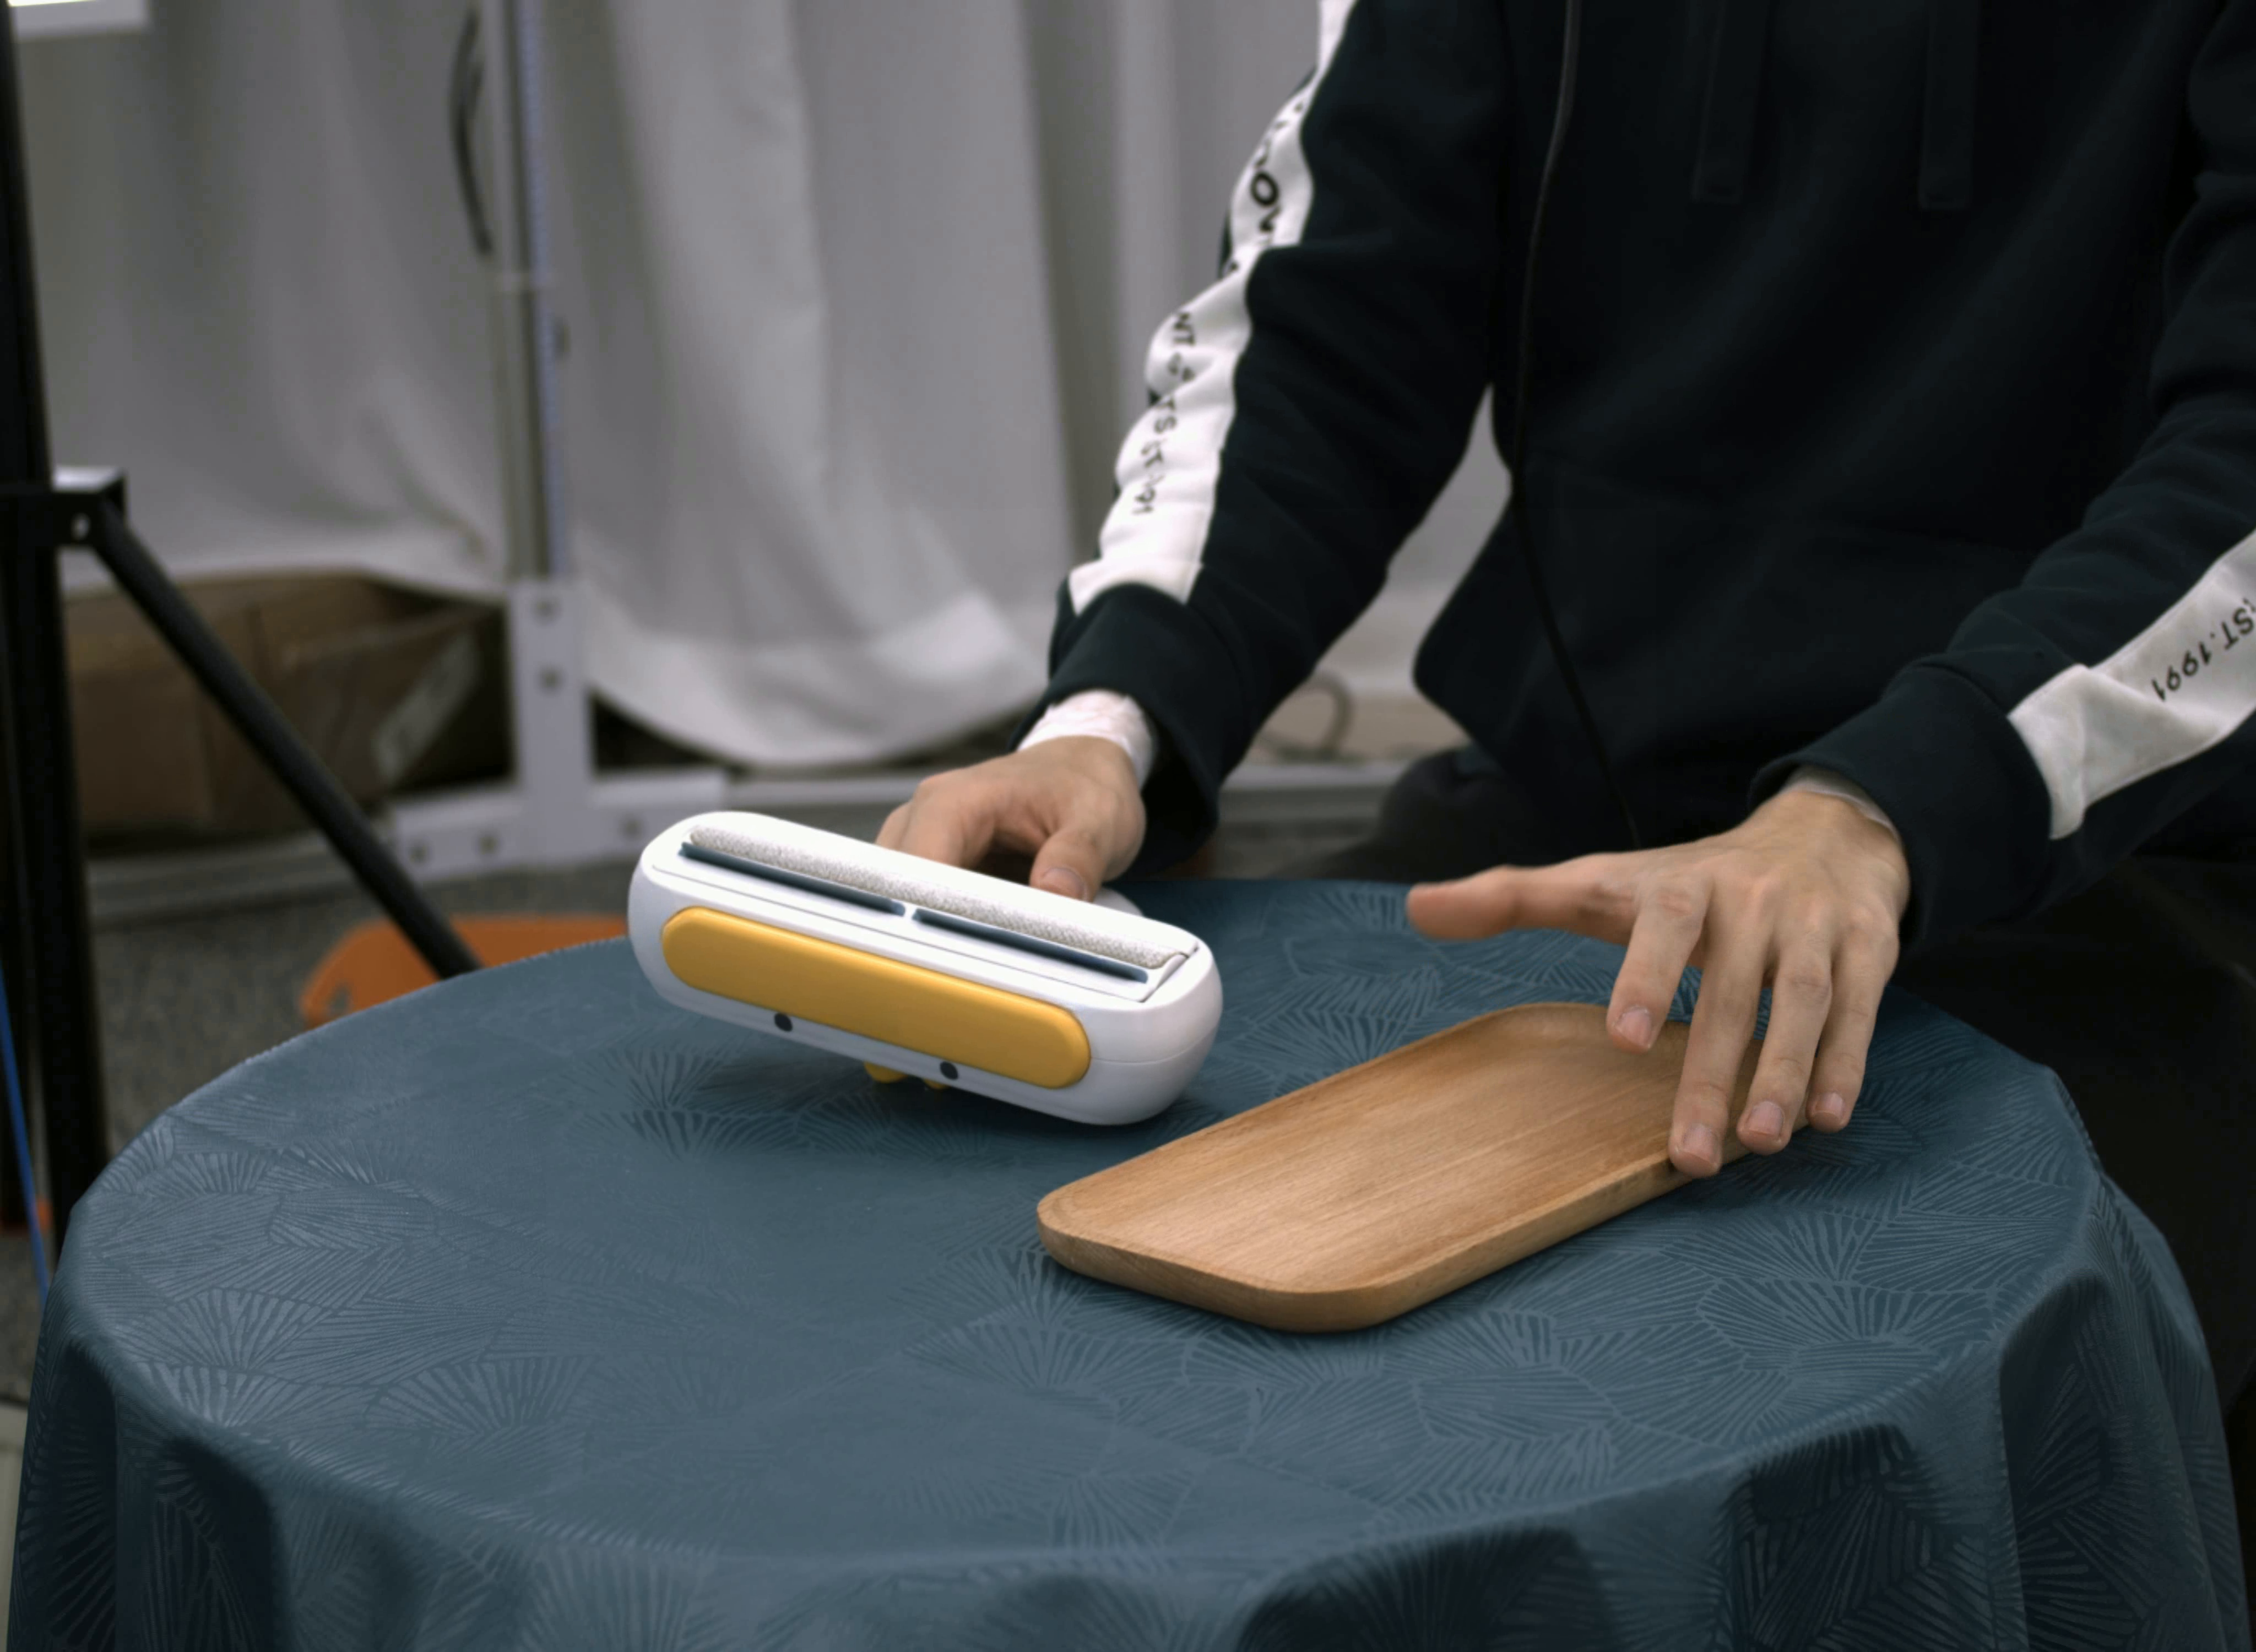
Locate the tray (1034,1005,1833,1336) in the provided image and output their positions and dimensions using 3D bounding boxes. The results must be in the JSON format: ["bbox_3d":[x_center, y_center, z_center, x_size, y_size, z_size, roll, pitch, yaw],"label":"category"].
[{"bbox_3d":[0.093,0.098,1.547,0.133,0.023,0.245,15,23,42],"label":"tray"}]

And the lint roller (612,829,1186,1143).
[{"bbox_3d":[-0.046,0.054,1.700,0.196,0.074,0.188,14,7,28],"label":"lint roller"}]
